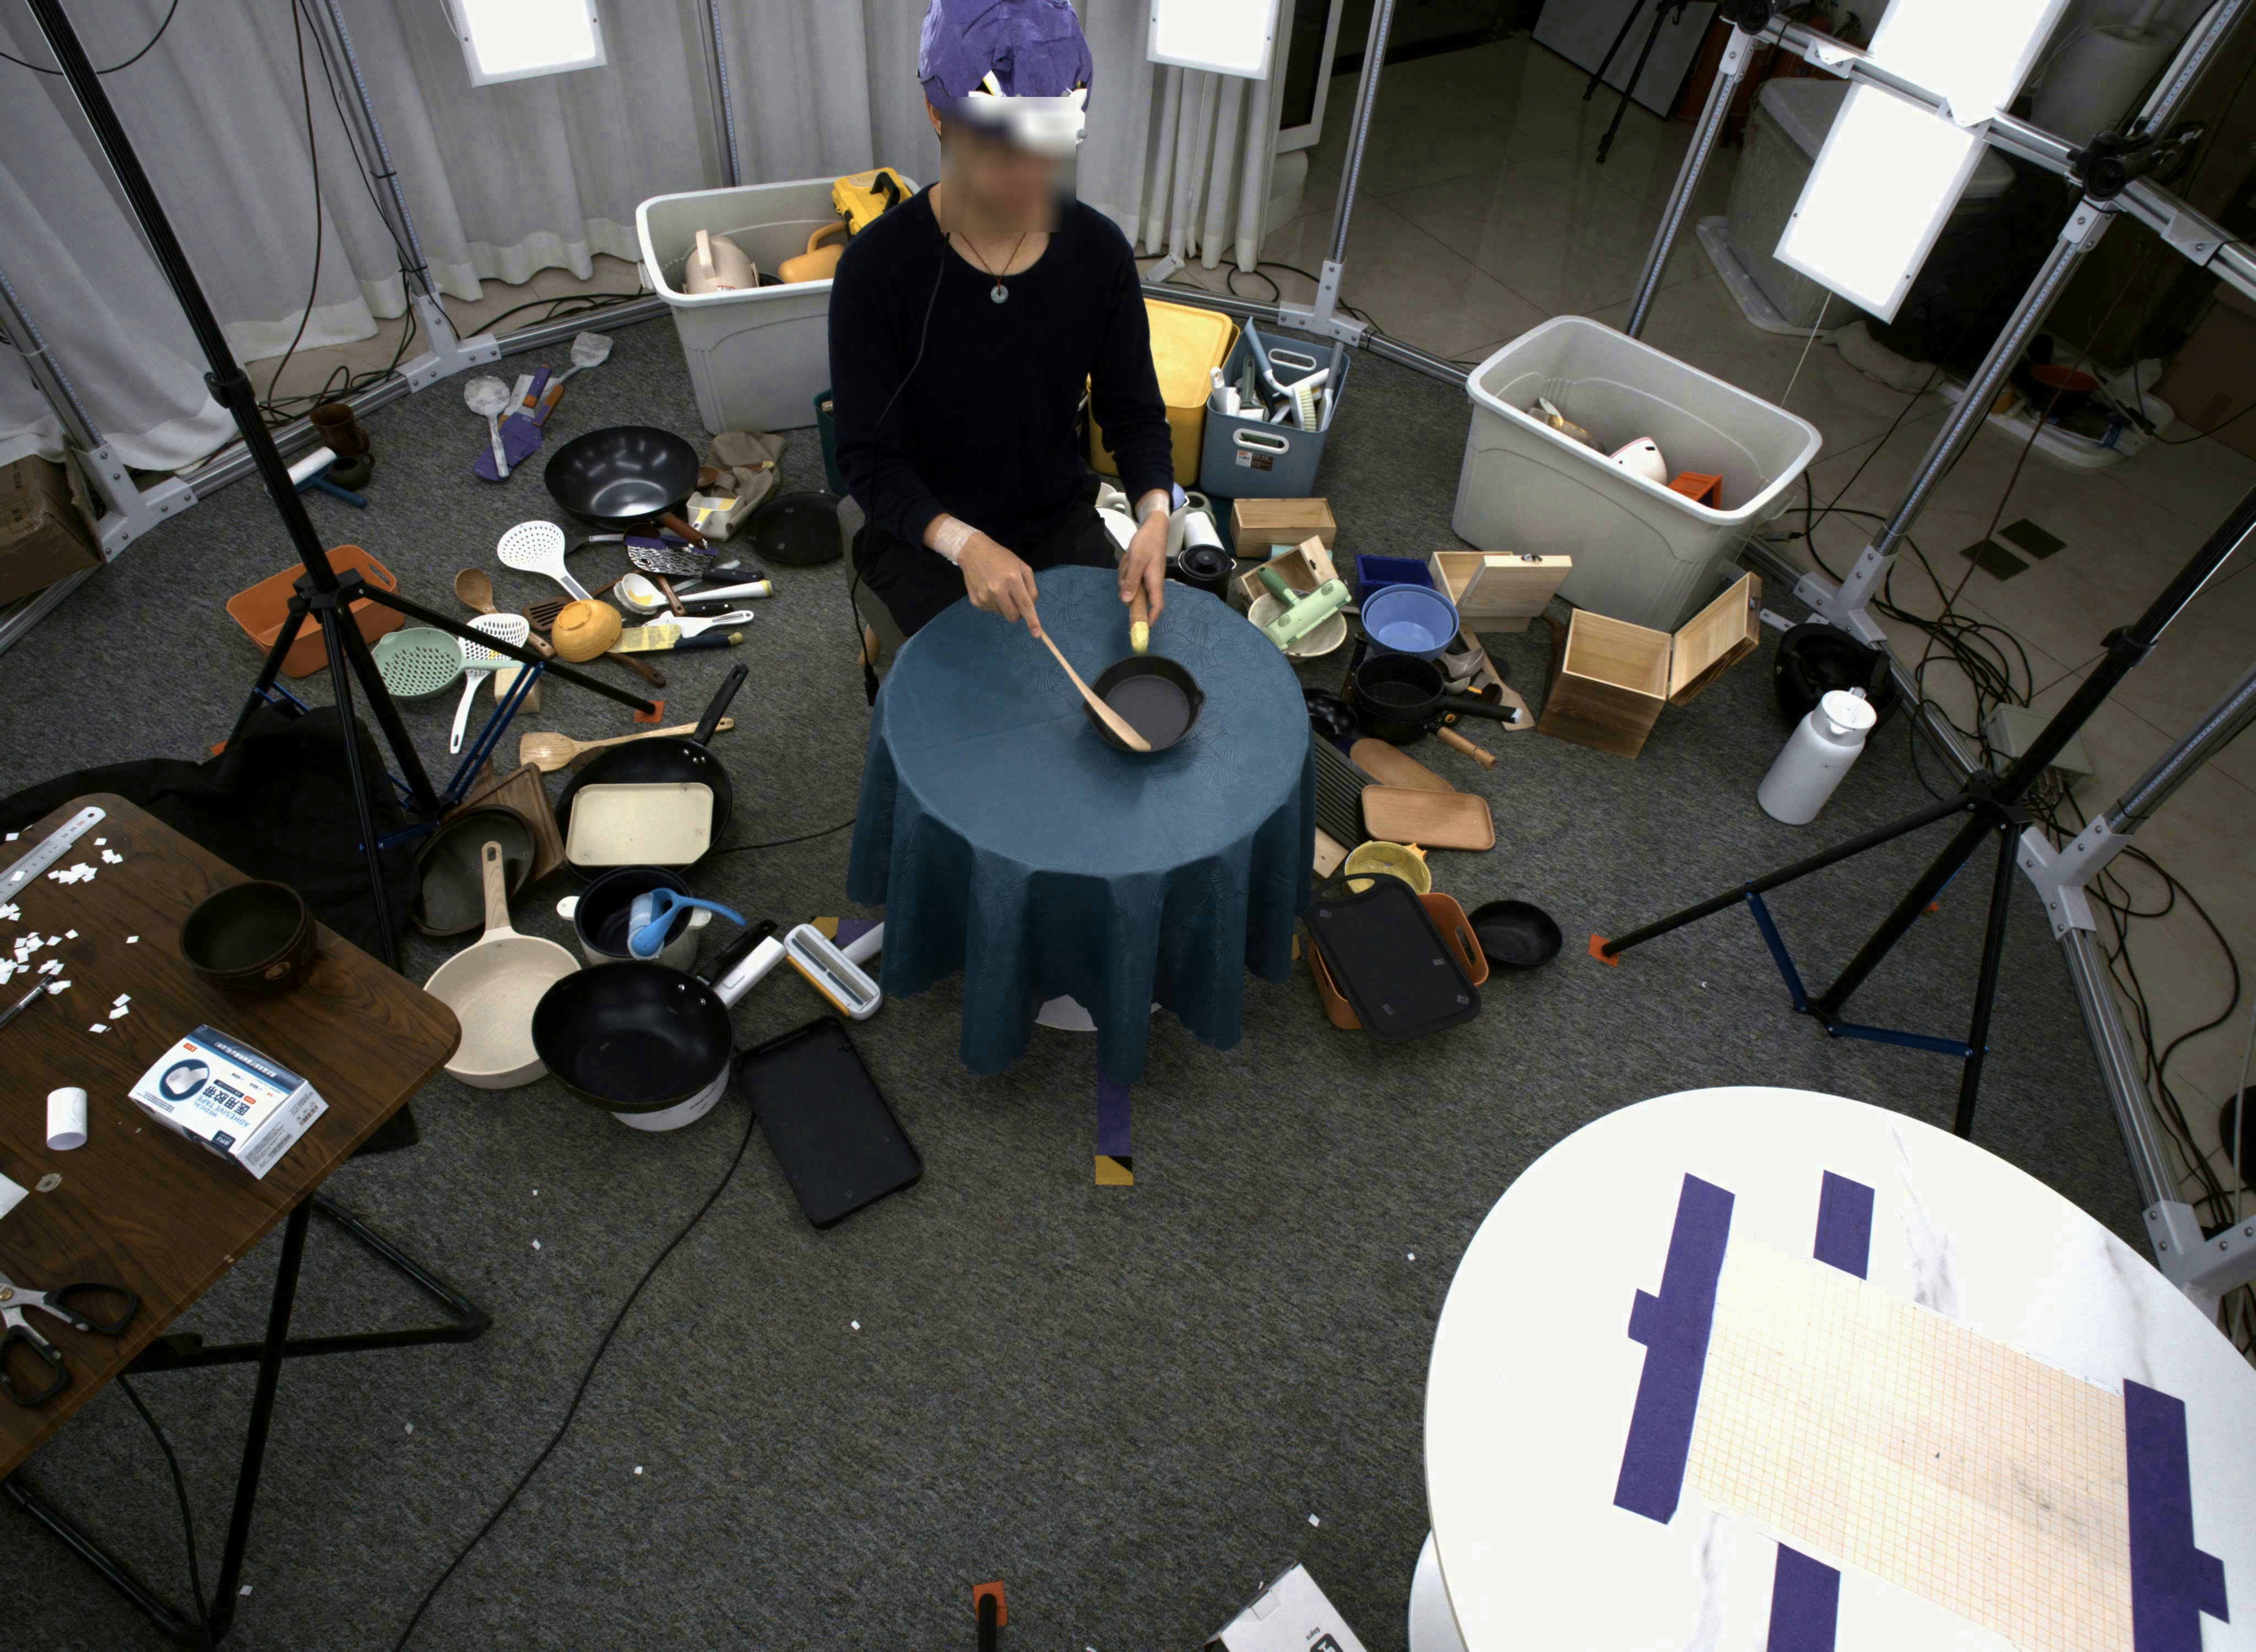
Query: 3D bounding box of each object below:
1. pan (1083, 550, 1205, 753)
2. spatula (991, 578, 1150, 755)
[{"bbox_3d":[0.019,-0.244,1.805,0.169,0.048,0.331,-4,63,4],"label":"pan"},{"bbox_3d":[-0.079,-0.217,1.739,0.330,0.016,0.080,51,17,10],"label":"spatula"}]
